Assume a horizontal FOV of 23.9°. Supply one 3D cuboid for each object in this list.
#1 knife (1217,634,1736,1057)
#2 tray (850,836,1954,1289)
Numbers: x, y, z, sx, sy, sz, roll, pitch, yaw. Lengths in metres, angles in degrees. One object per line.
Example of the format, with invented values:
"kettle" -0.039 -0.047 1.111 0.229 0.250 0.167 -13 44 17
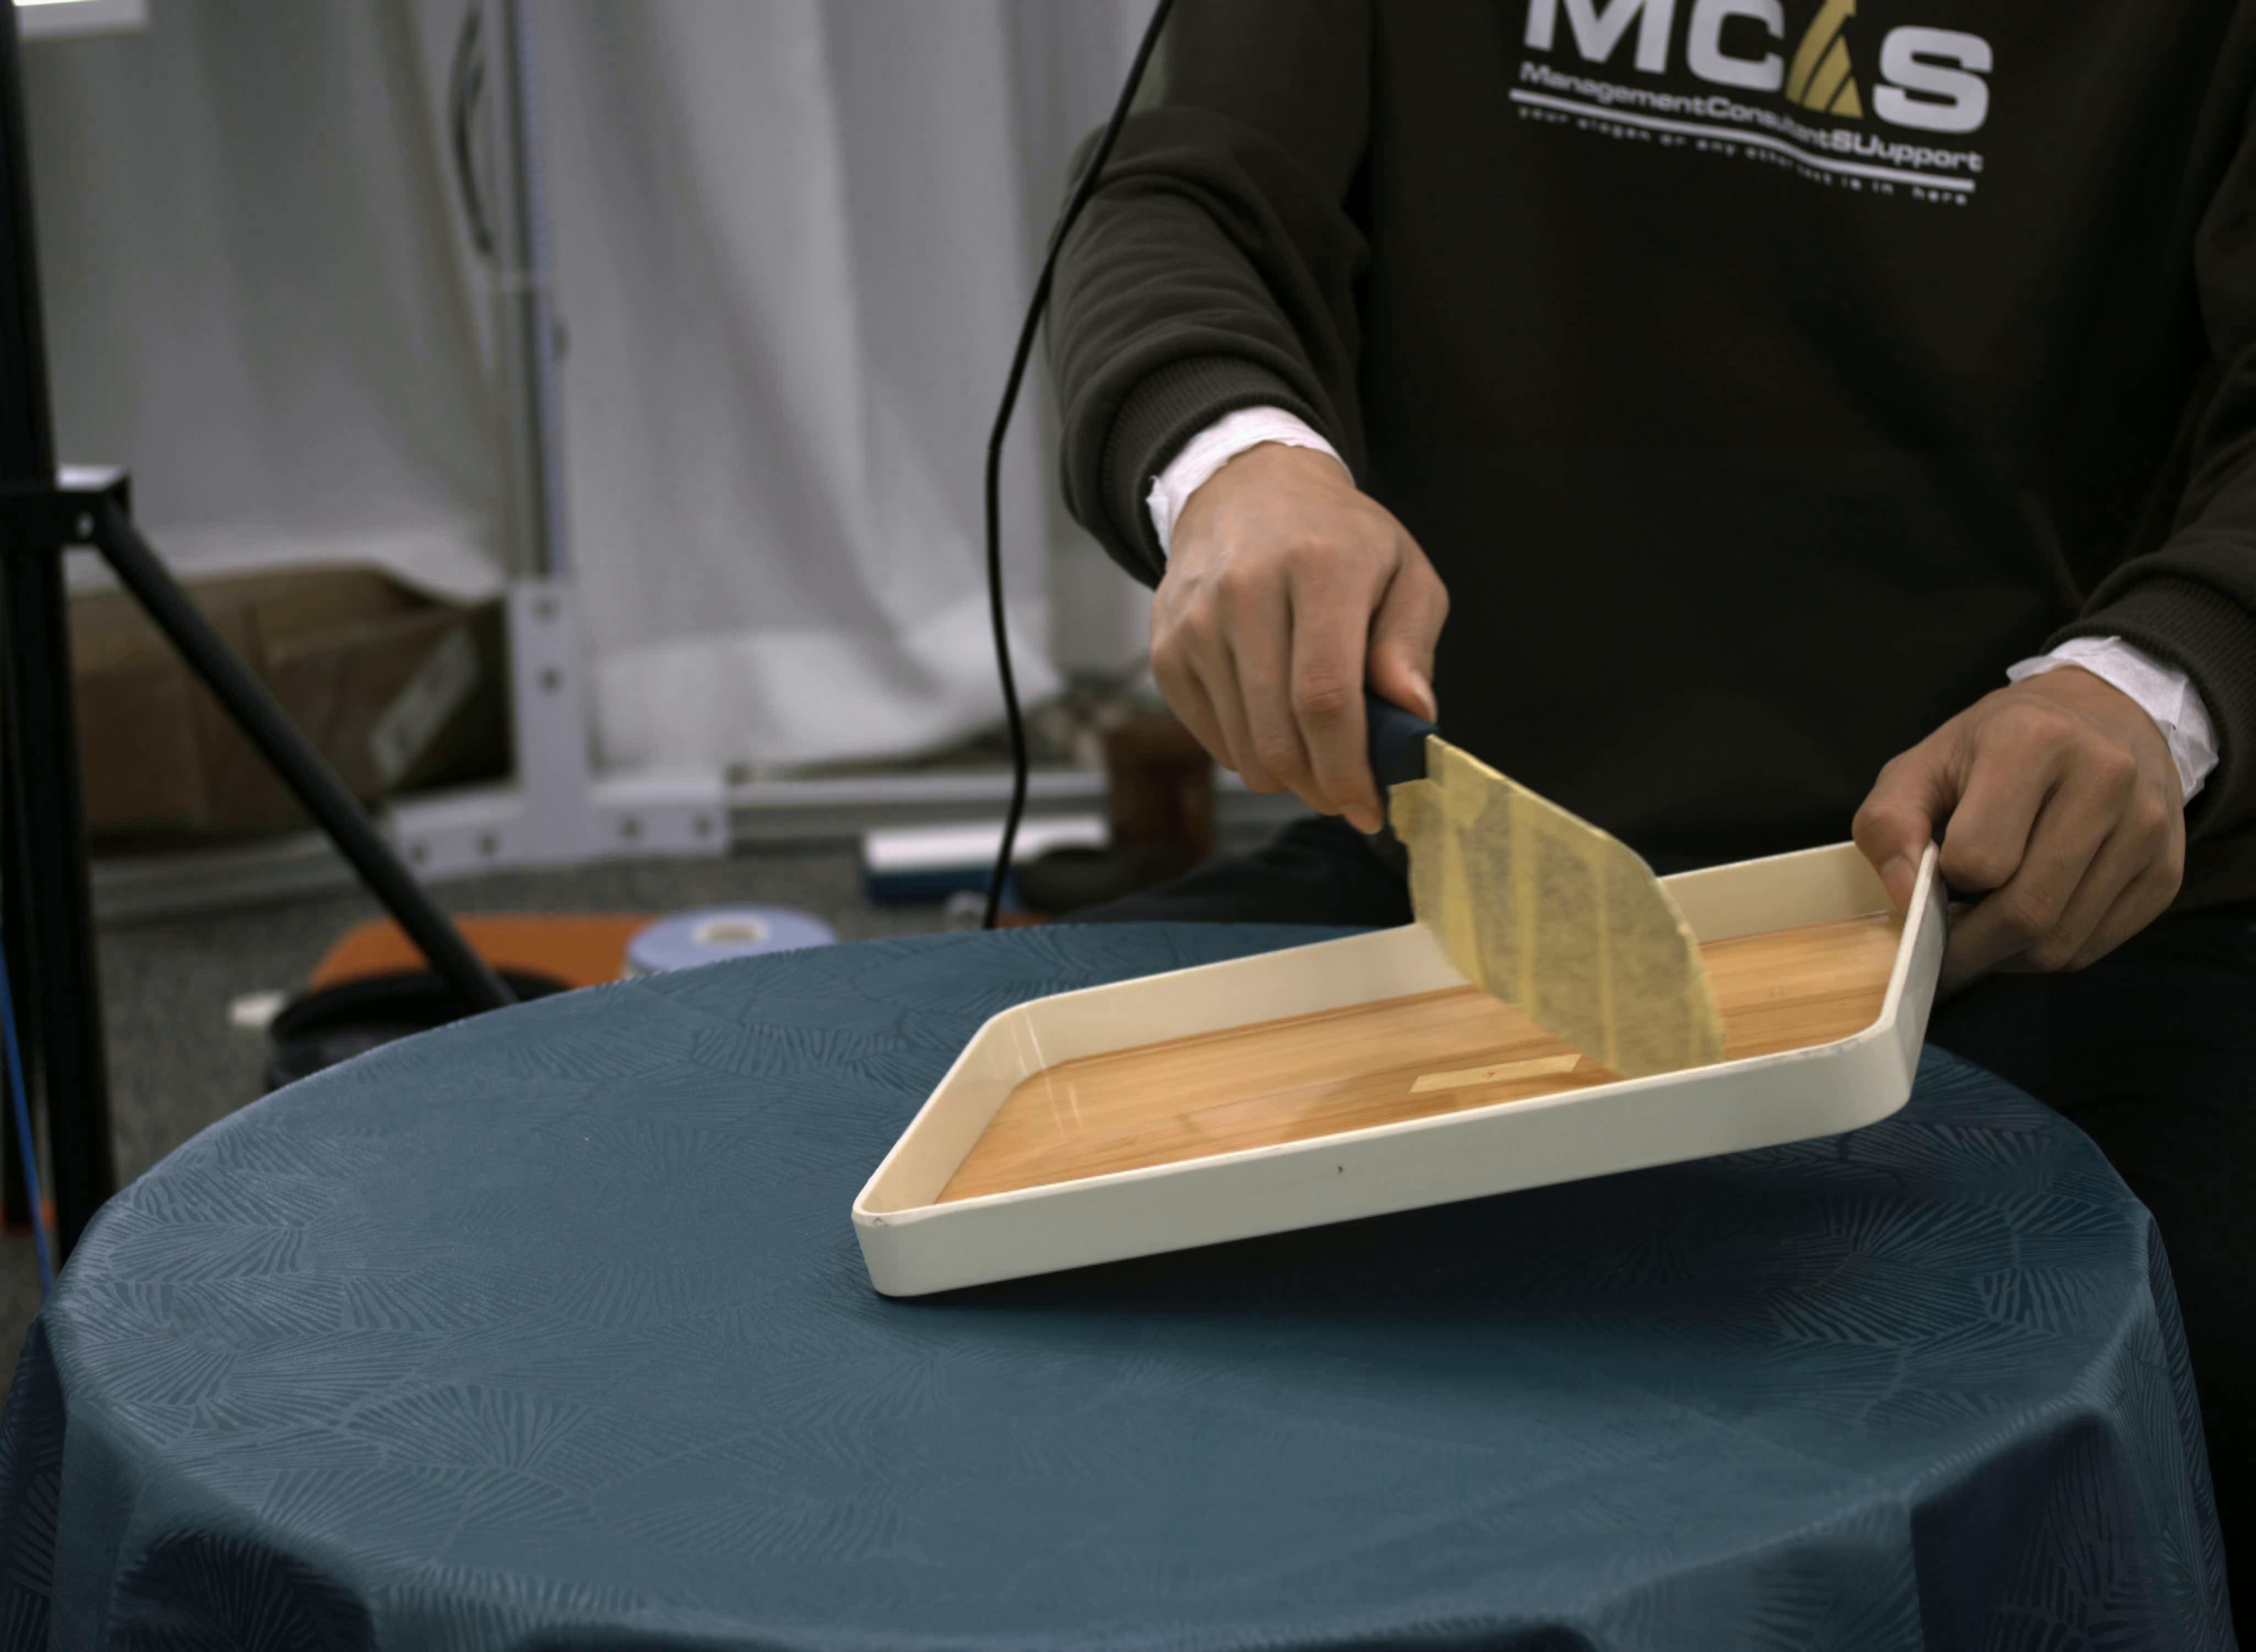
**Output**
"knife" 0.099 0.007 1.535 0.027 0.081 0.296 -11 25 -23
"tray" 0.082 0.067 1.520 0.303 0.027 0.190 -11 14 18
